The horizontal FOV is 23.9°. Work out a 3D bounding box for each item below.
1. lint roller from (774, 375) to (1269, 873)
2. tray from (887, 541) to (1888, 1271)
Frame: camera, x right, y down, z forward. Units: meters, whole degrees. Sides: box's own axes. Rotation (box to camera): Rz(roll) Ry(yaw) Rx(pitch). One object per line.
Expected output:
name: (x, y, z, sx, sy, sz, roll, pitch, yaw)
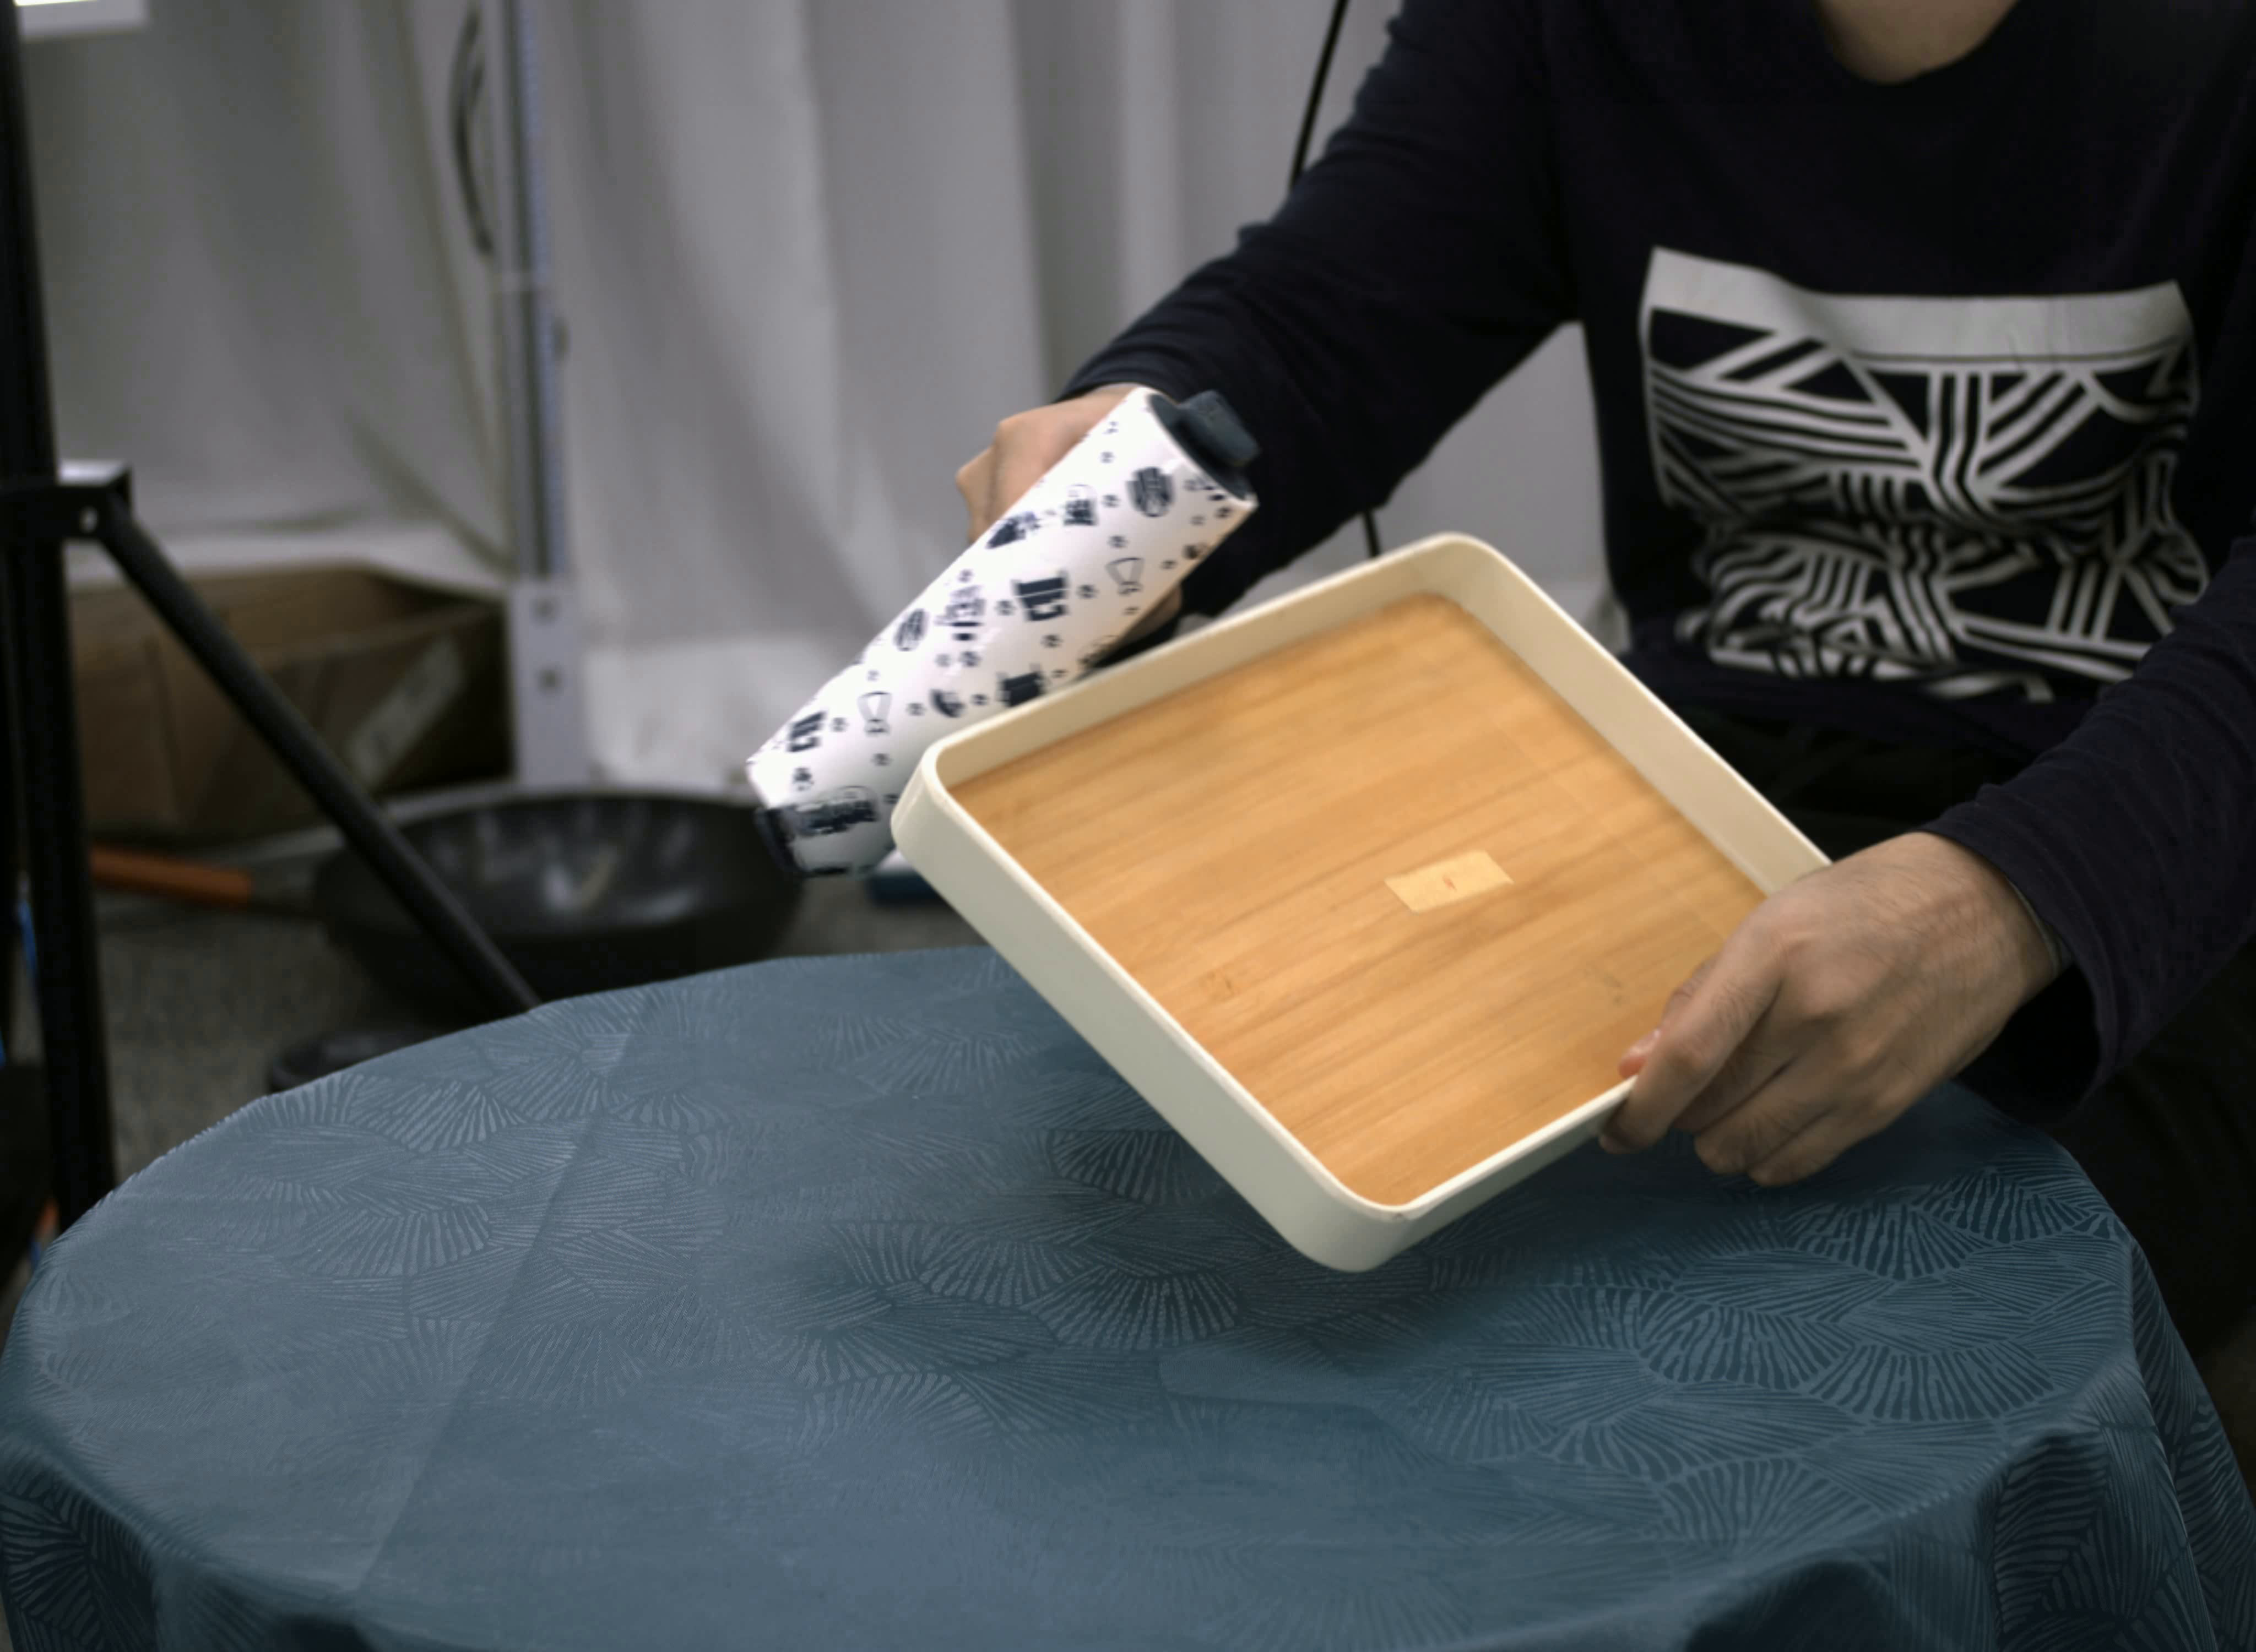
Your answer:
lint roller: (-0.019, -0.074, 1.623, 0.177, 0.050, 0.246, -44, 2, 13)
tray: (0.082, 0.016, 1.541, 0.194, 0.027, 0.294, 43, 36, 19)
